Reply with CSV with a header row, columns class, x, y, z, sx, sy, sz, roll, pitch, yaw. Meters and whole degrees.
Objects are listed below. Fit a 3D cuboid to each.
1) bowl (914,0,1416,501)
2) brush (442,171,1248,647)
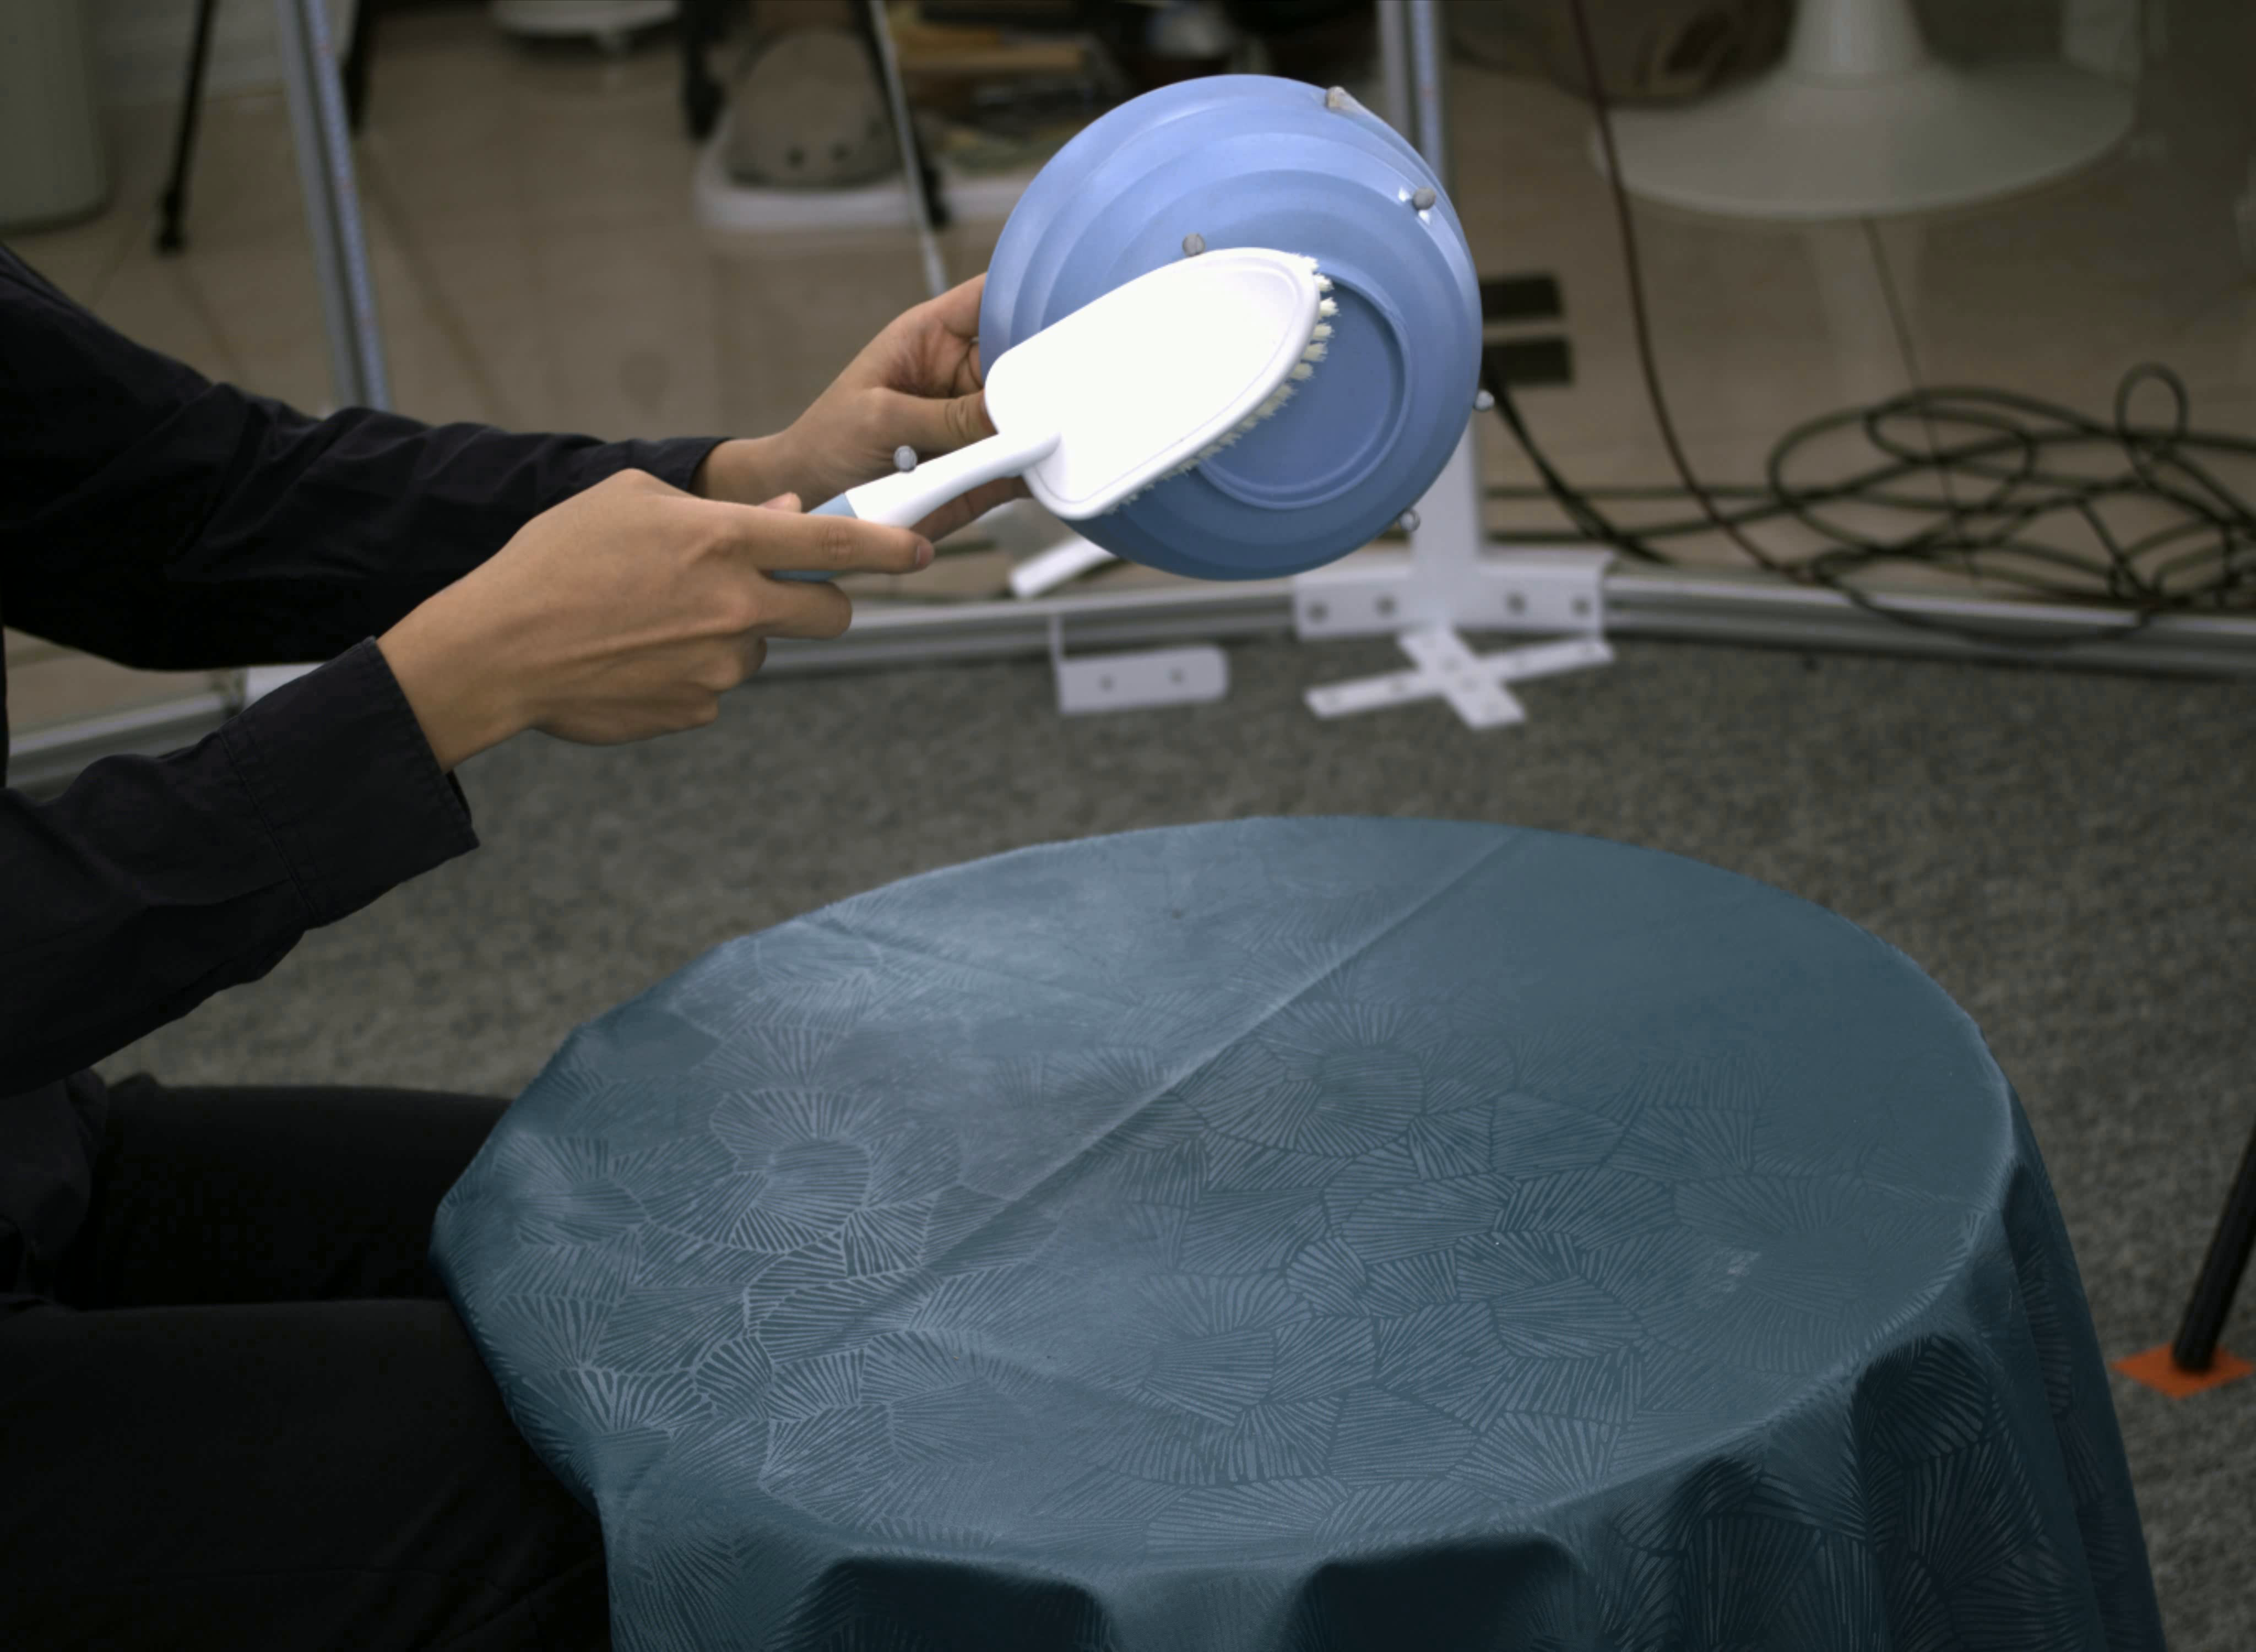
class,x,y,z,sx,sy,sz,roll,pitch,yaw
bowl,0.024,-0.206,2.125,0.196,0.199,0.094,-11,24,-10
brush,-0.104,-0.152,2.058,0.325,0.086,0.082,-29,53,1
